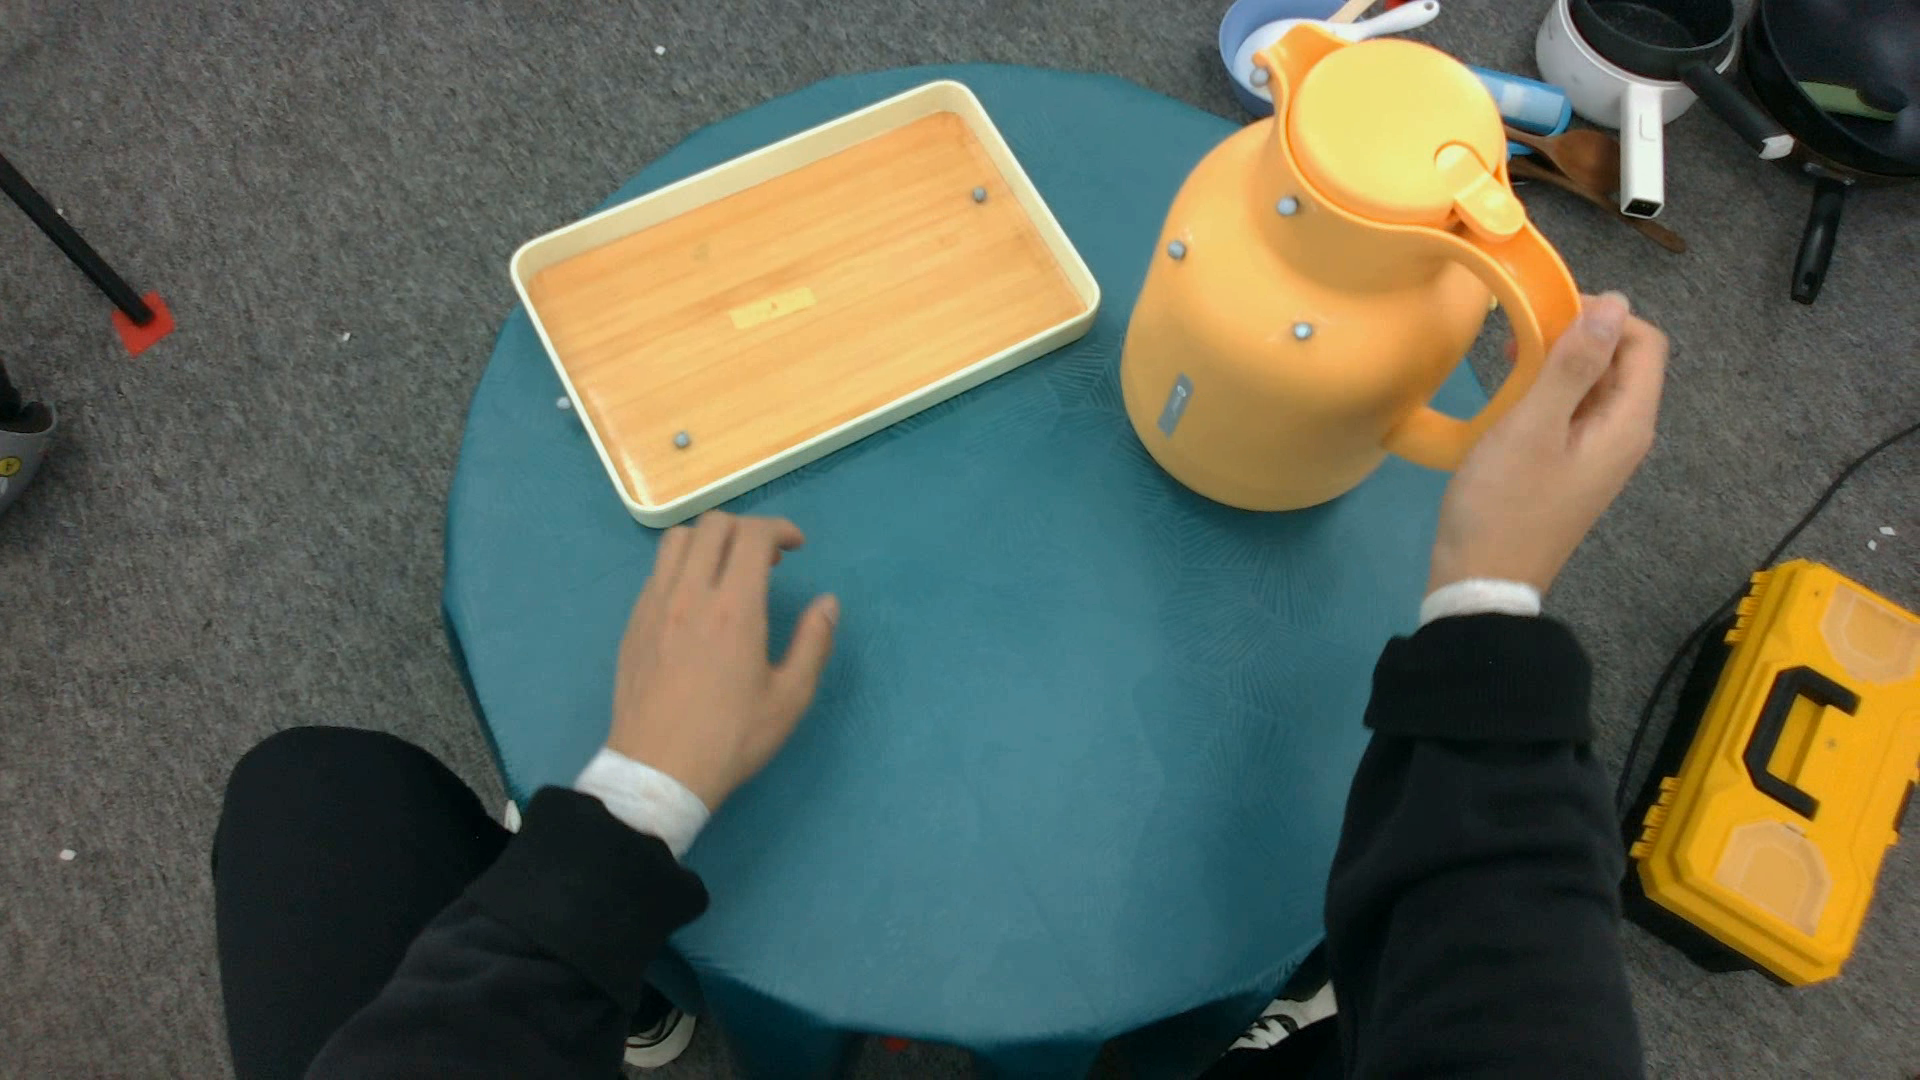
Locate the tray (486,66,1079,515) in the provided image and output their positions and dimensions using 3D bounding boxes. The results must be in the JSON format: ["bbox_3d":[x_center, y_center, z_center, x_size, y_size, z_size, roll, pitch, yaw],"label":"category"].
[{"bbox_3d":[-0.101,-0.153,0.803,0.301,0.027,0.192,-27,72,-14],"label":"tray"}]

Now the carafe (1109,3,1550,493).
[{"bbox_3d":[0.178,-0.124,0.684,0.164,0.259,0.202,-36,73,-13],"label":"carafe"}]
